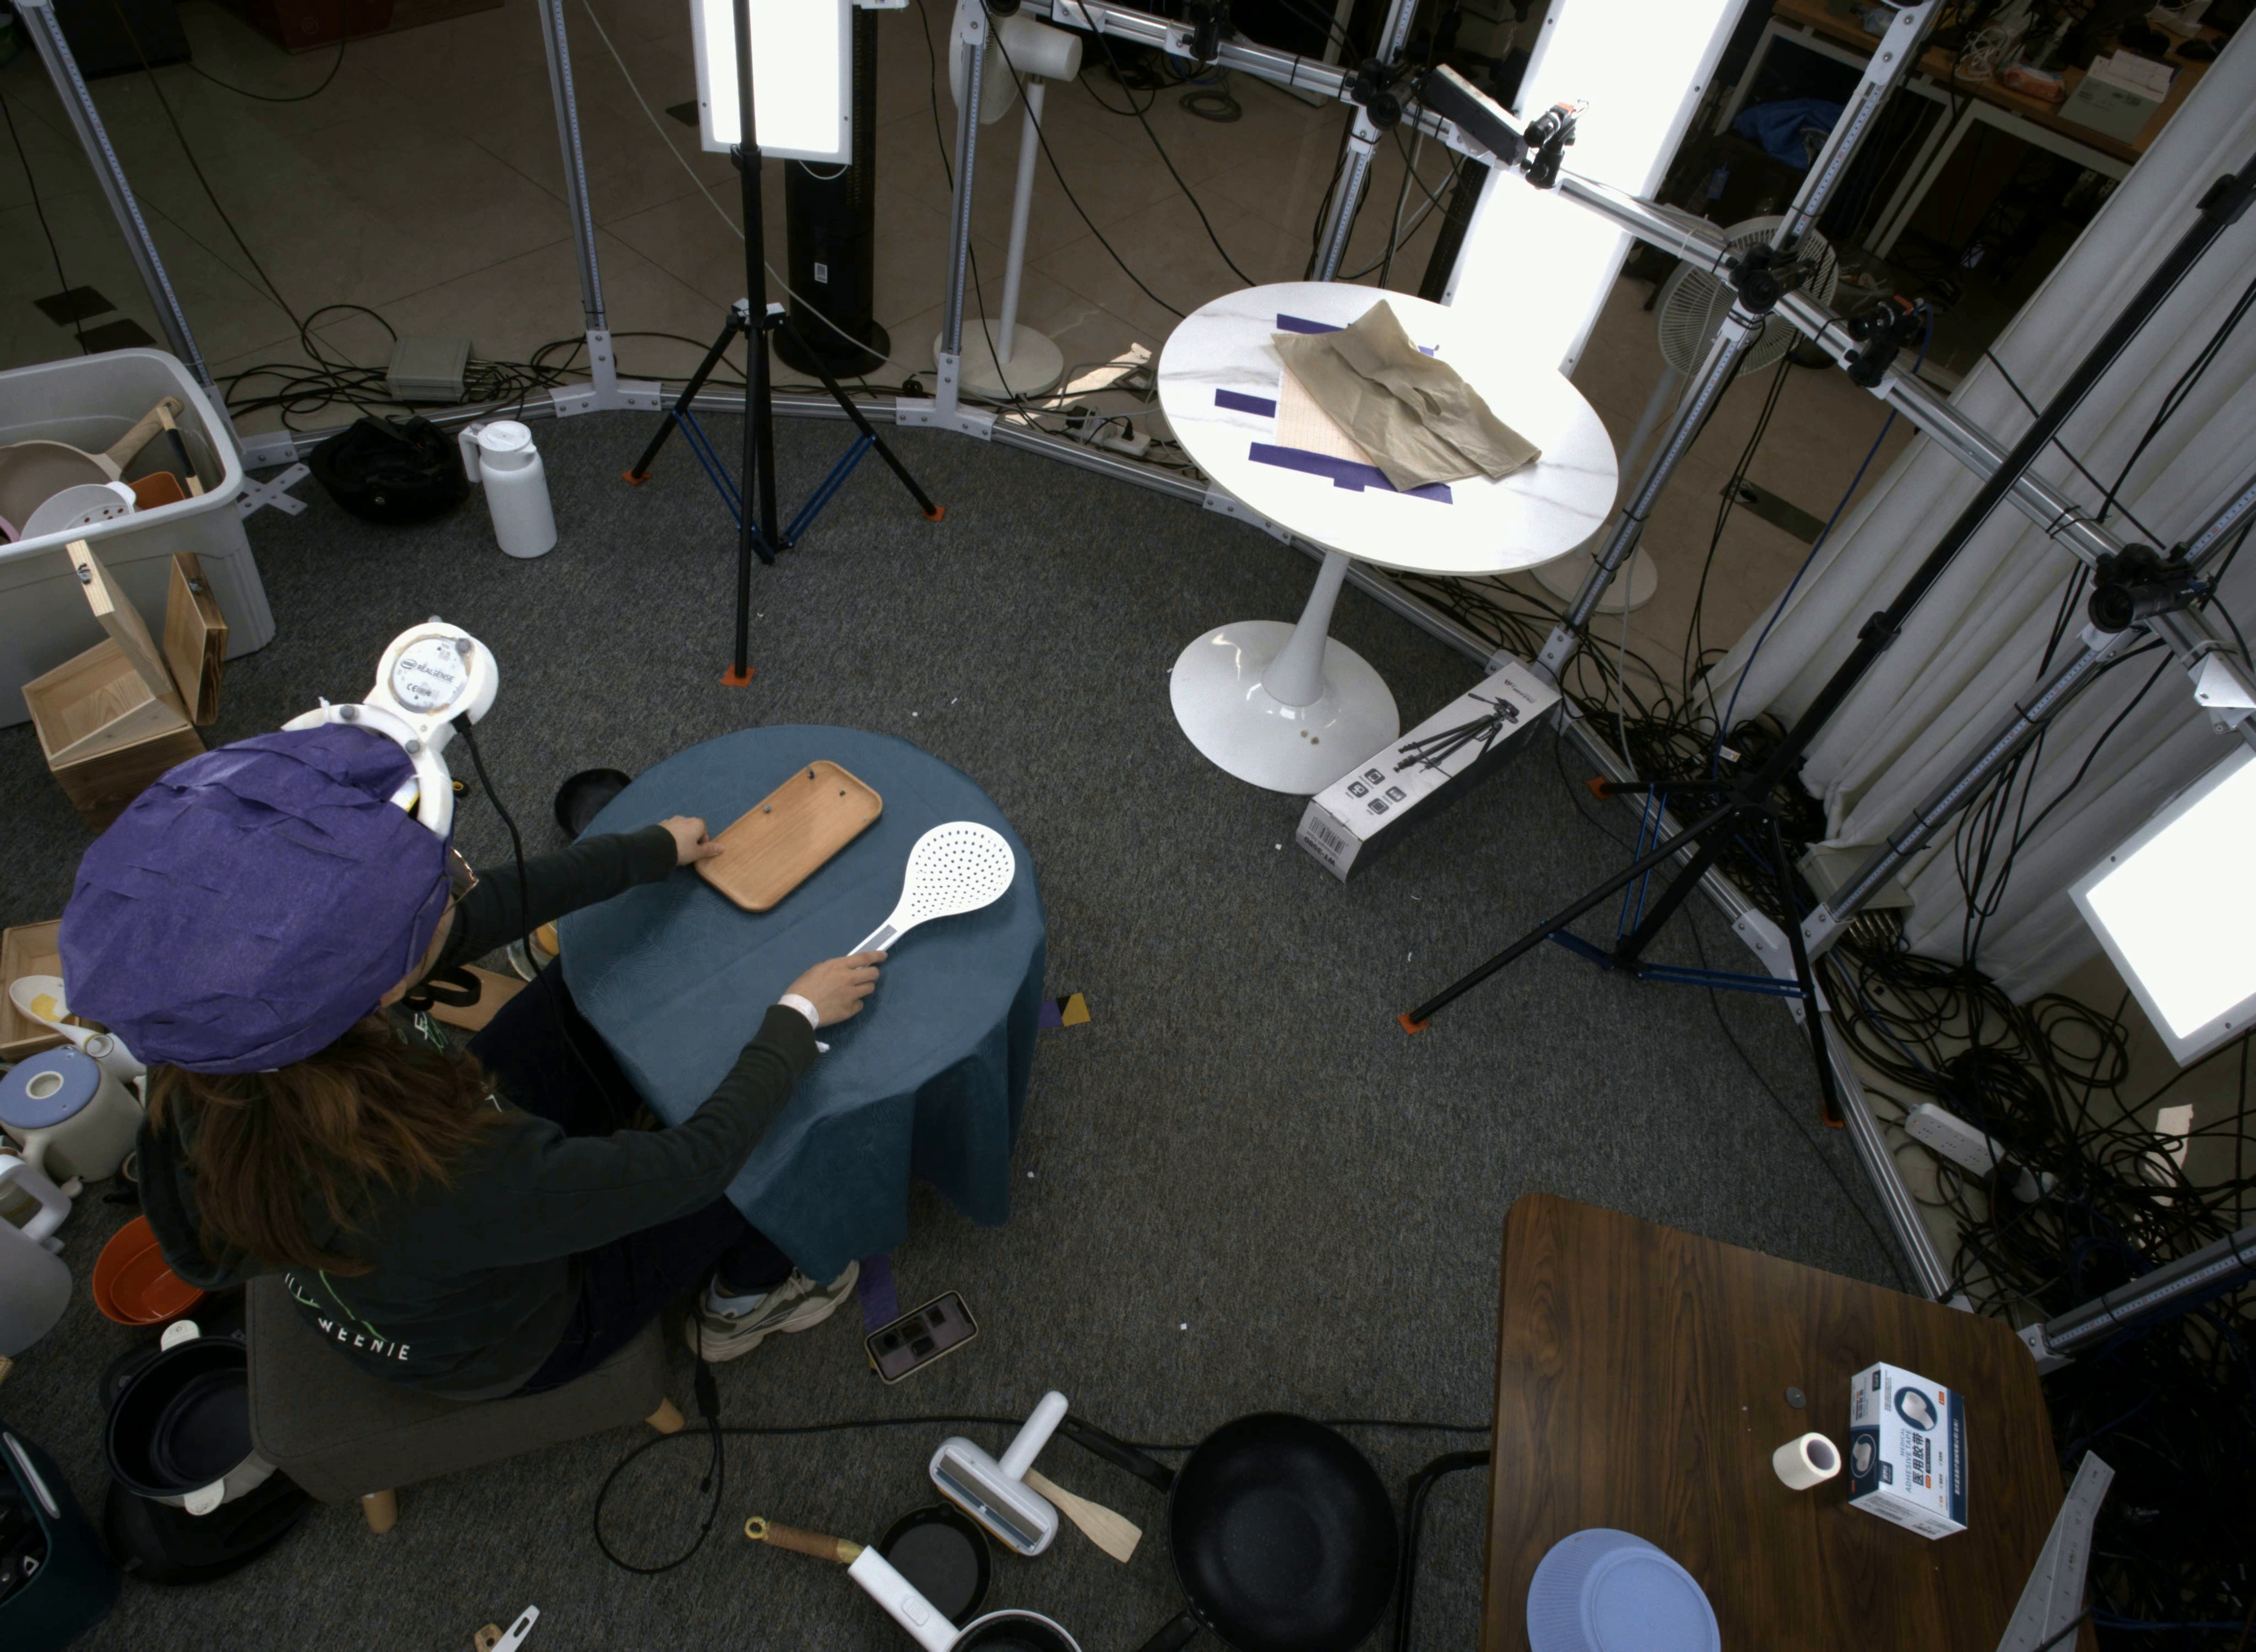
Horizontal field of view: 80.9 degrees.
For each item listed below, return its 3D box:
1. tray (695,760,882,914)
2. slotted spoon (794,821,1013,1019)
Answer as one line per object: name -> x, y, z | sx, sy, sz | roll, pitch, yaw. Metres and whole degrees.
tray -> -0.444, 0.011, 1.705 | 0.128, 0.023, 0.250 | 34, 54, 14
slotted spoon -> -0.285, 0.118, 1.648 | 0.133, 0.047, 0.350 | 36, 54, 17
